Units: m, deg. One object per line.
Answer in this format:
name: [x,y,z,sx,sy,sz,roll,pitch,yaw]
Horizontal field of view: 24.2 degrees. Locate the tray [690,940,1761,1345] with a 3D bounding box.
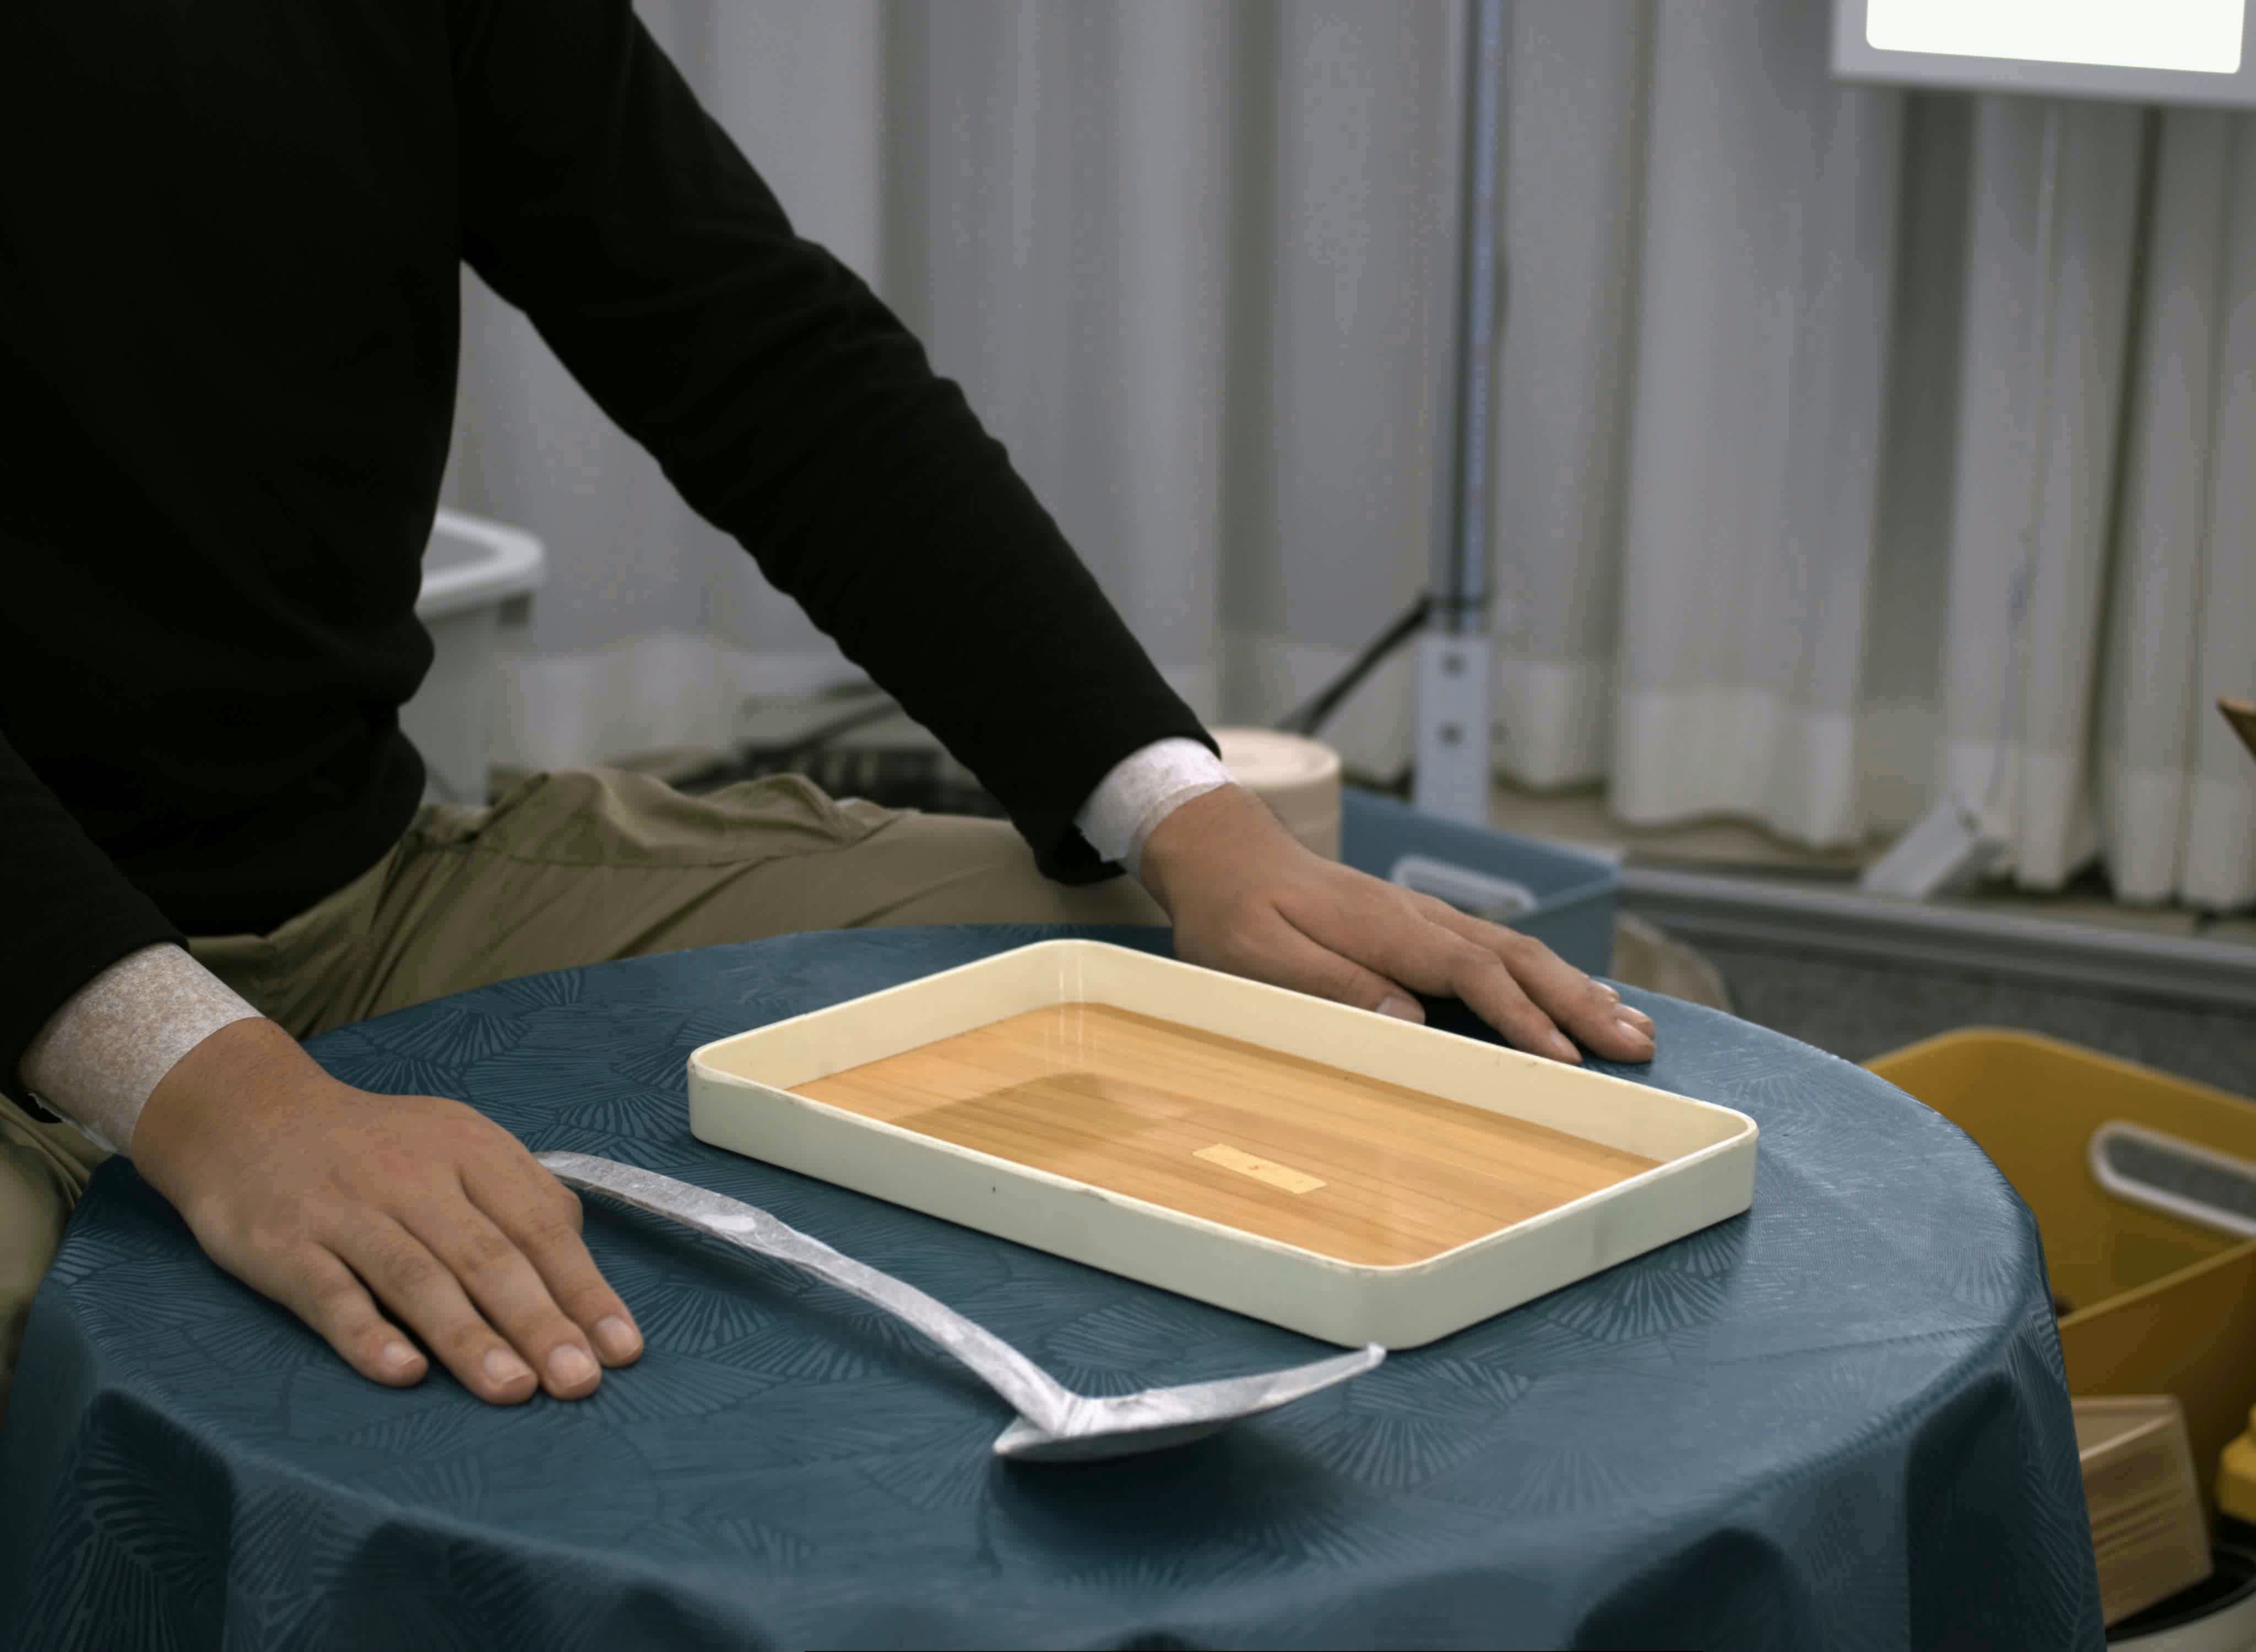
tray: [0.027,0.094,1.638,0.296,0.027,0.192,14,20,40]

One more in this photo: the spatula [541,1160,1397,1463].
spatula: [-0.070,0.127,1.493,0.099,0.045,0.360,-13,21,-38]
